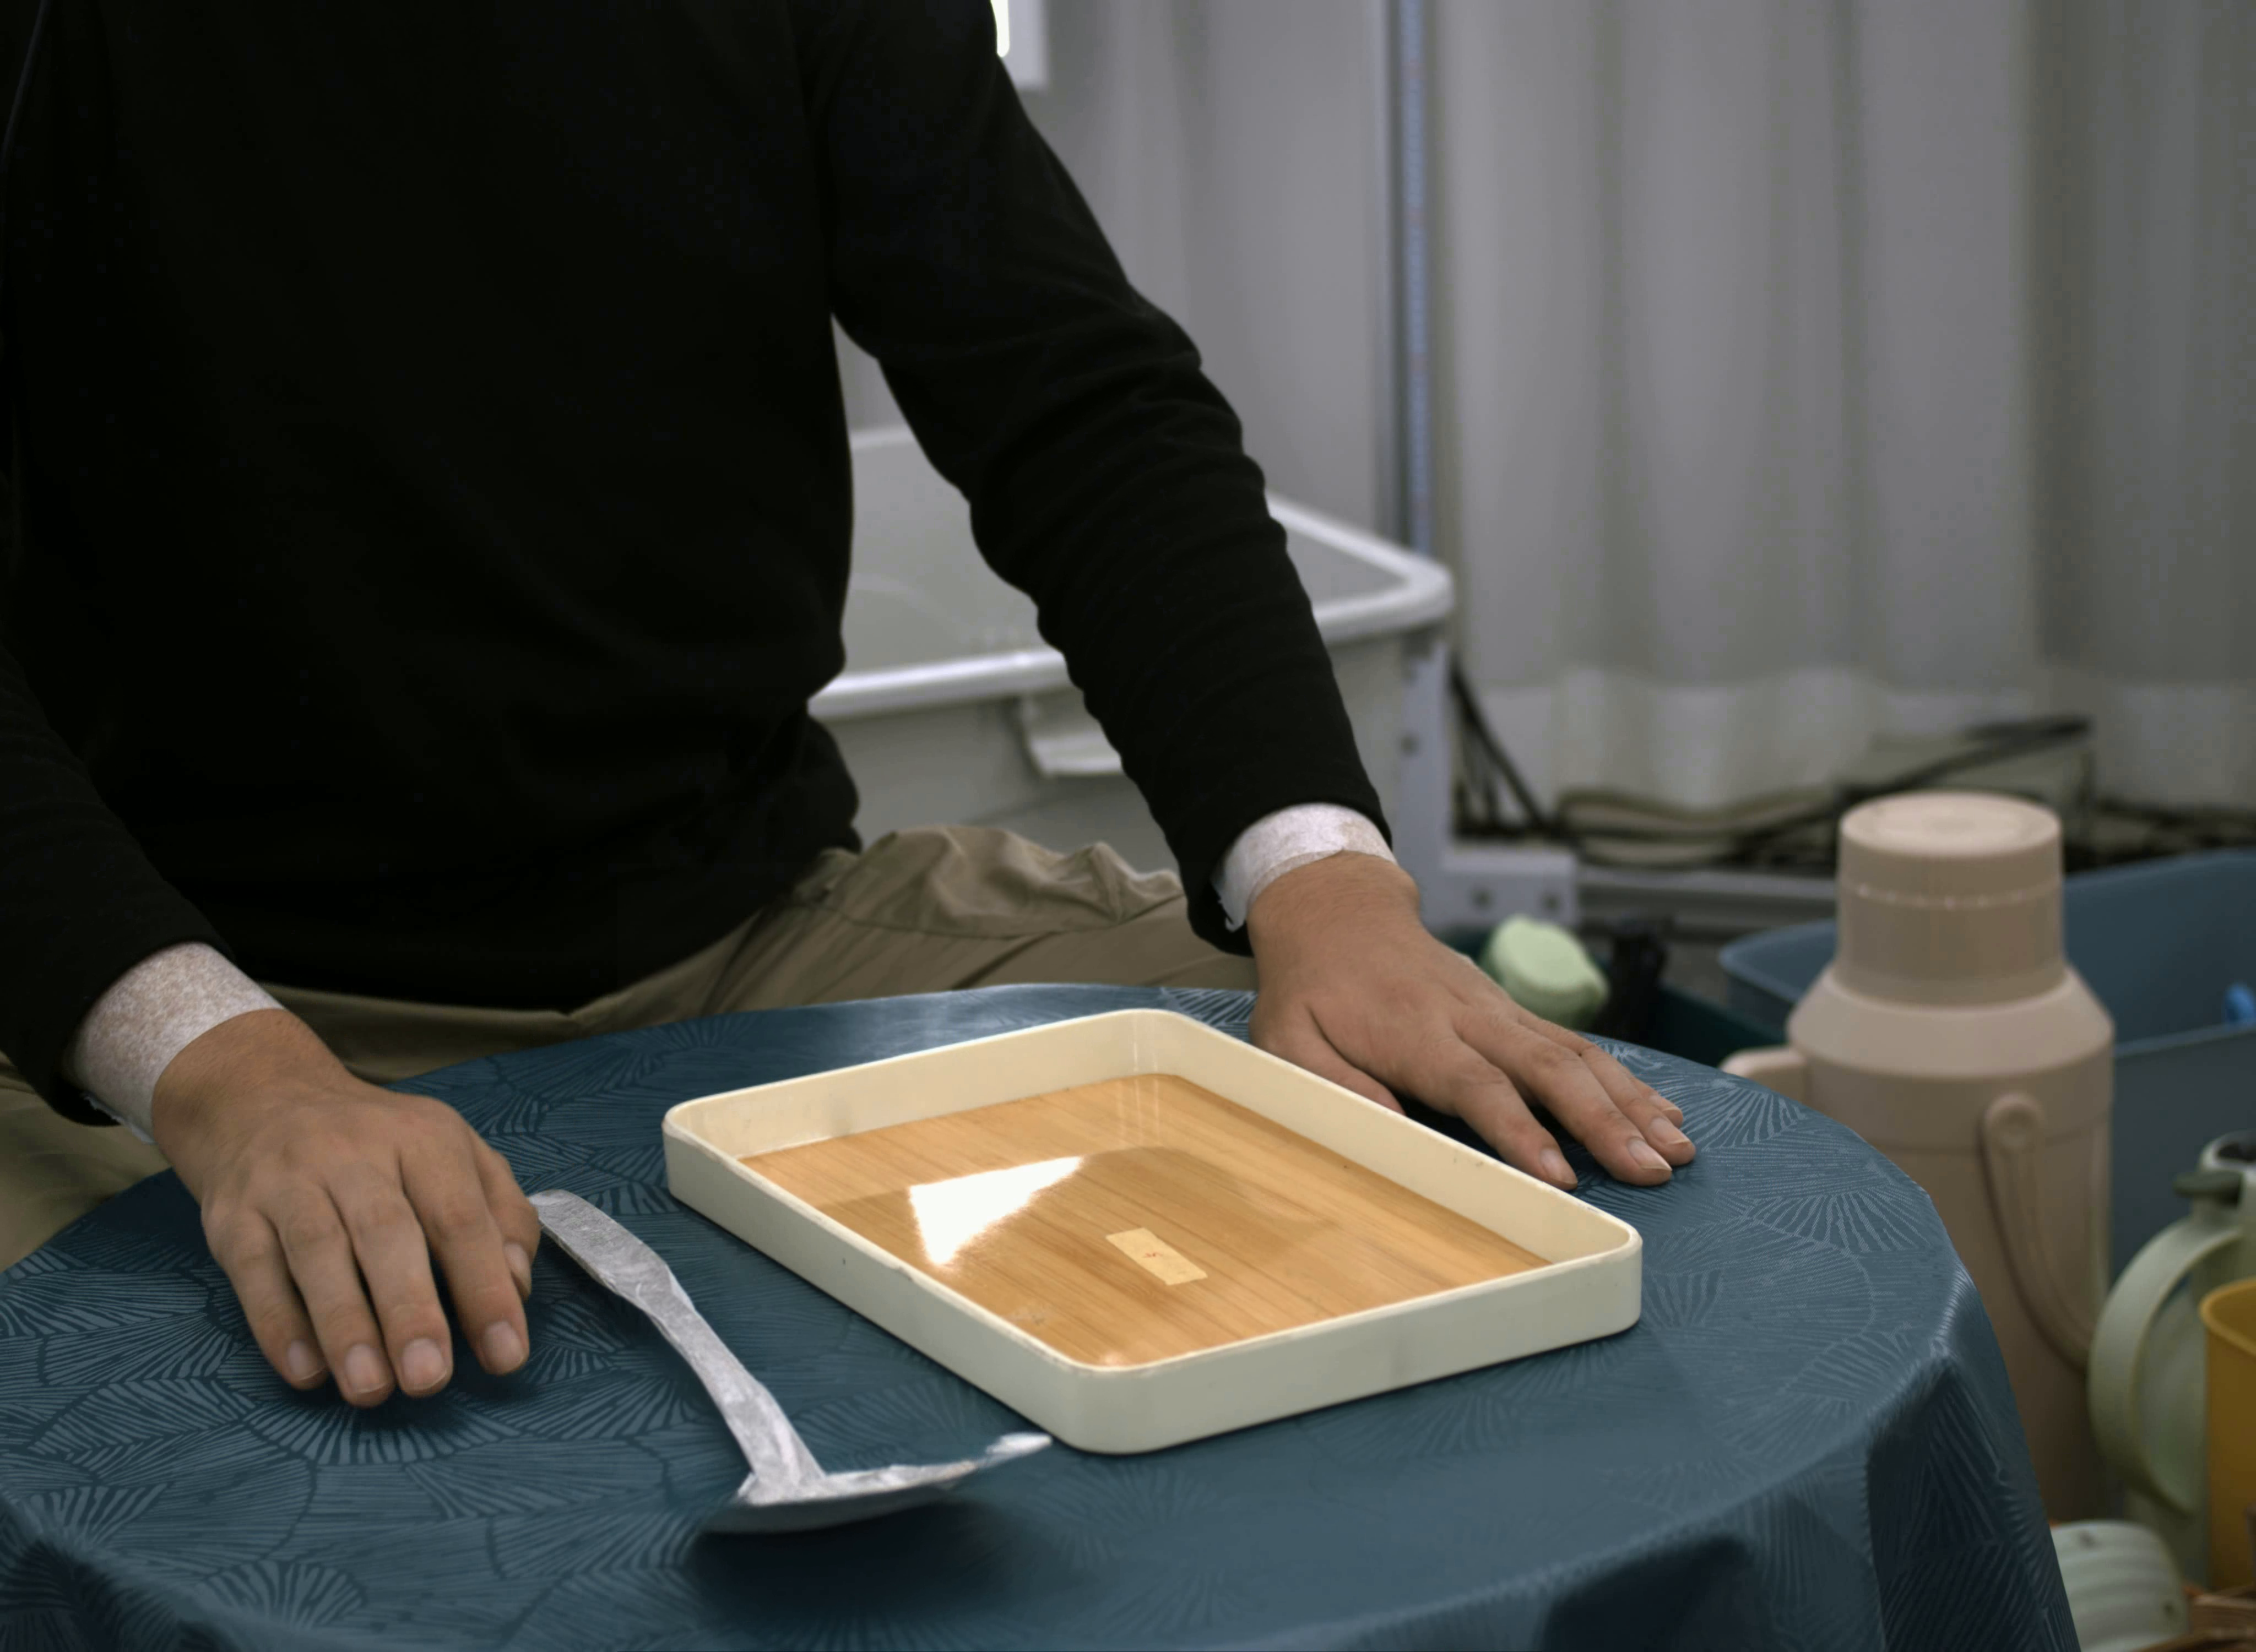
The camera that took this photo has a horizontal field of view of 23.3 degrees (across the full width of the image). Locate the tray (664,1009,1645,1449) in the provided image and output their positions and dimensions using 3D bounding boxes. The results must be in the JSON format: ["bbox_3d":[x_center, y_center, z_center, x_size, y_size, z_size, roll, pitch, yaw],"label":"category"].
[{"bbox_3d":[0.002,0.117,1.653,0.191,0.027,0.302,-11,17,-27],"label":"tray"}]

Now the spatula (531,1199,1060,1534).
[{"bbox_3d":[-0.120,0.144,1.553,0.098,0.044,0.368,-9,16,-19],"label":"spatula"}]
